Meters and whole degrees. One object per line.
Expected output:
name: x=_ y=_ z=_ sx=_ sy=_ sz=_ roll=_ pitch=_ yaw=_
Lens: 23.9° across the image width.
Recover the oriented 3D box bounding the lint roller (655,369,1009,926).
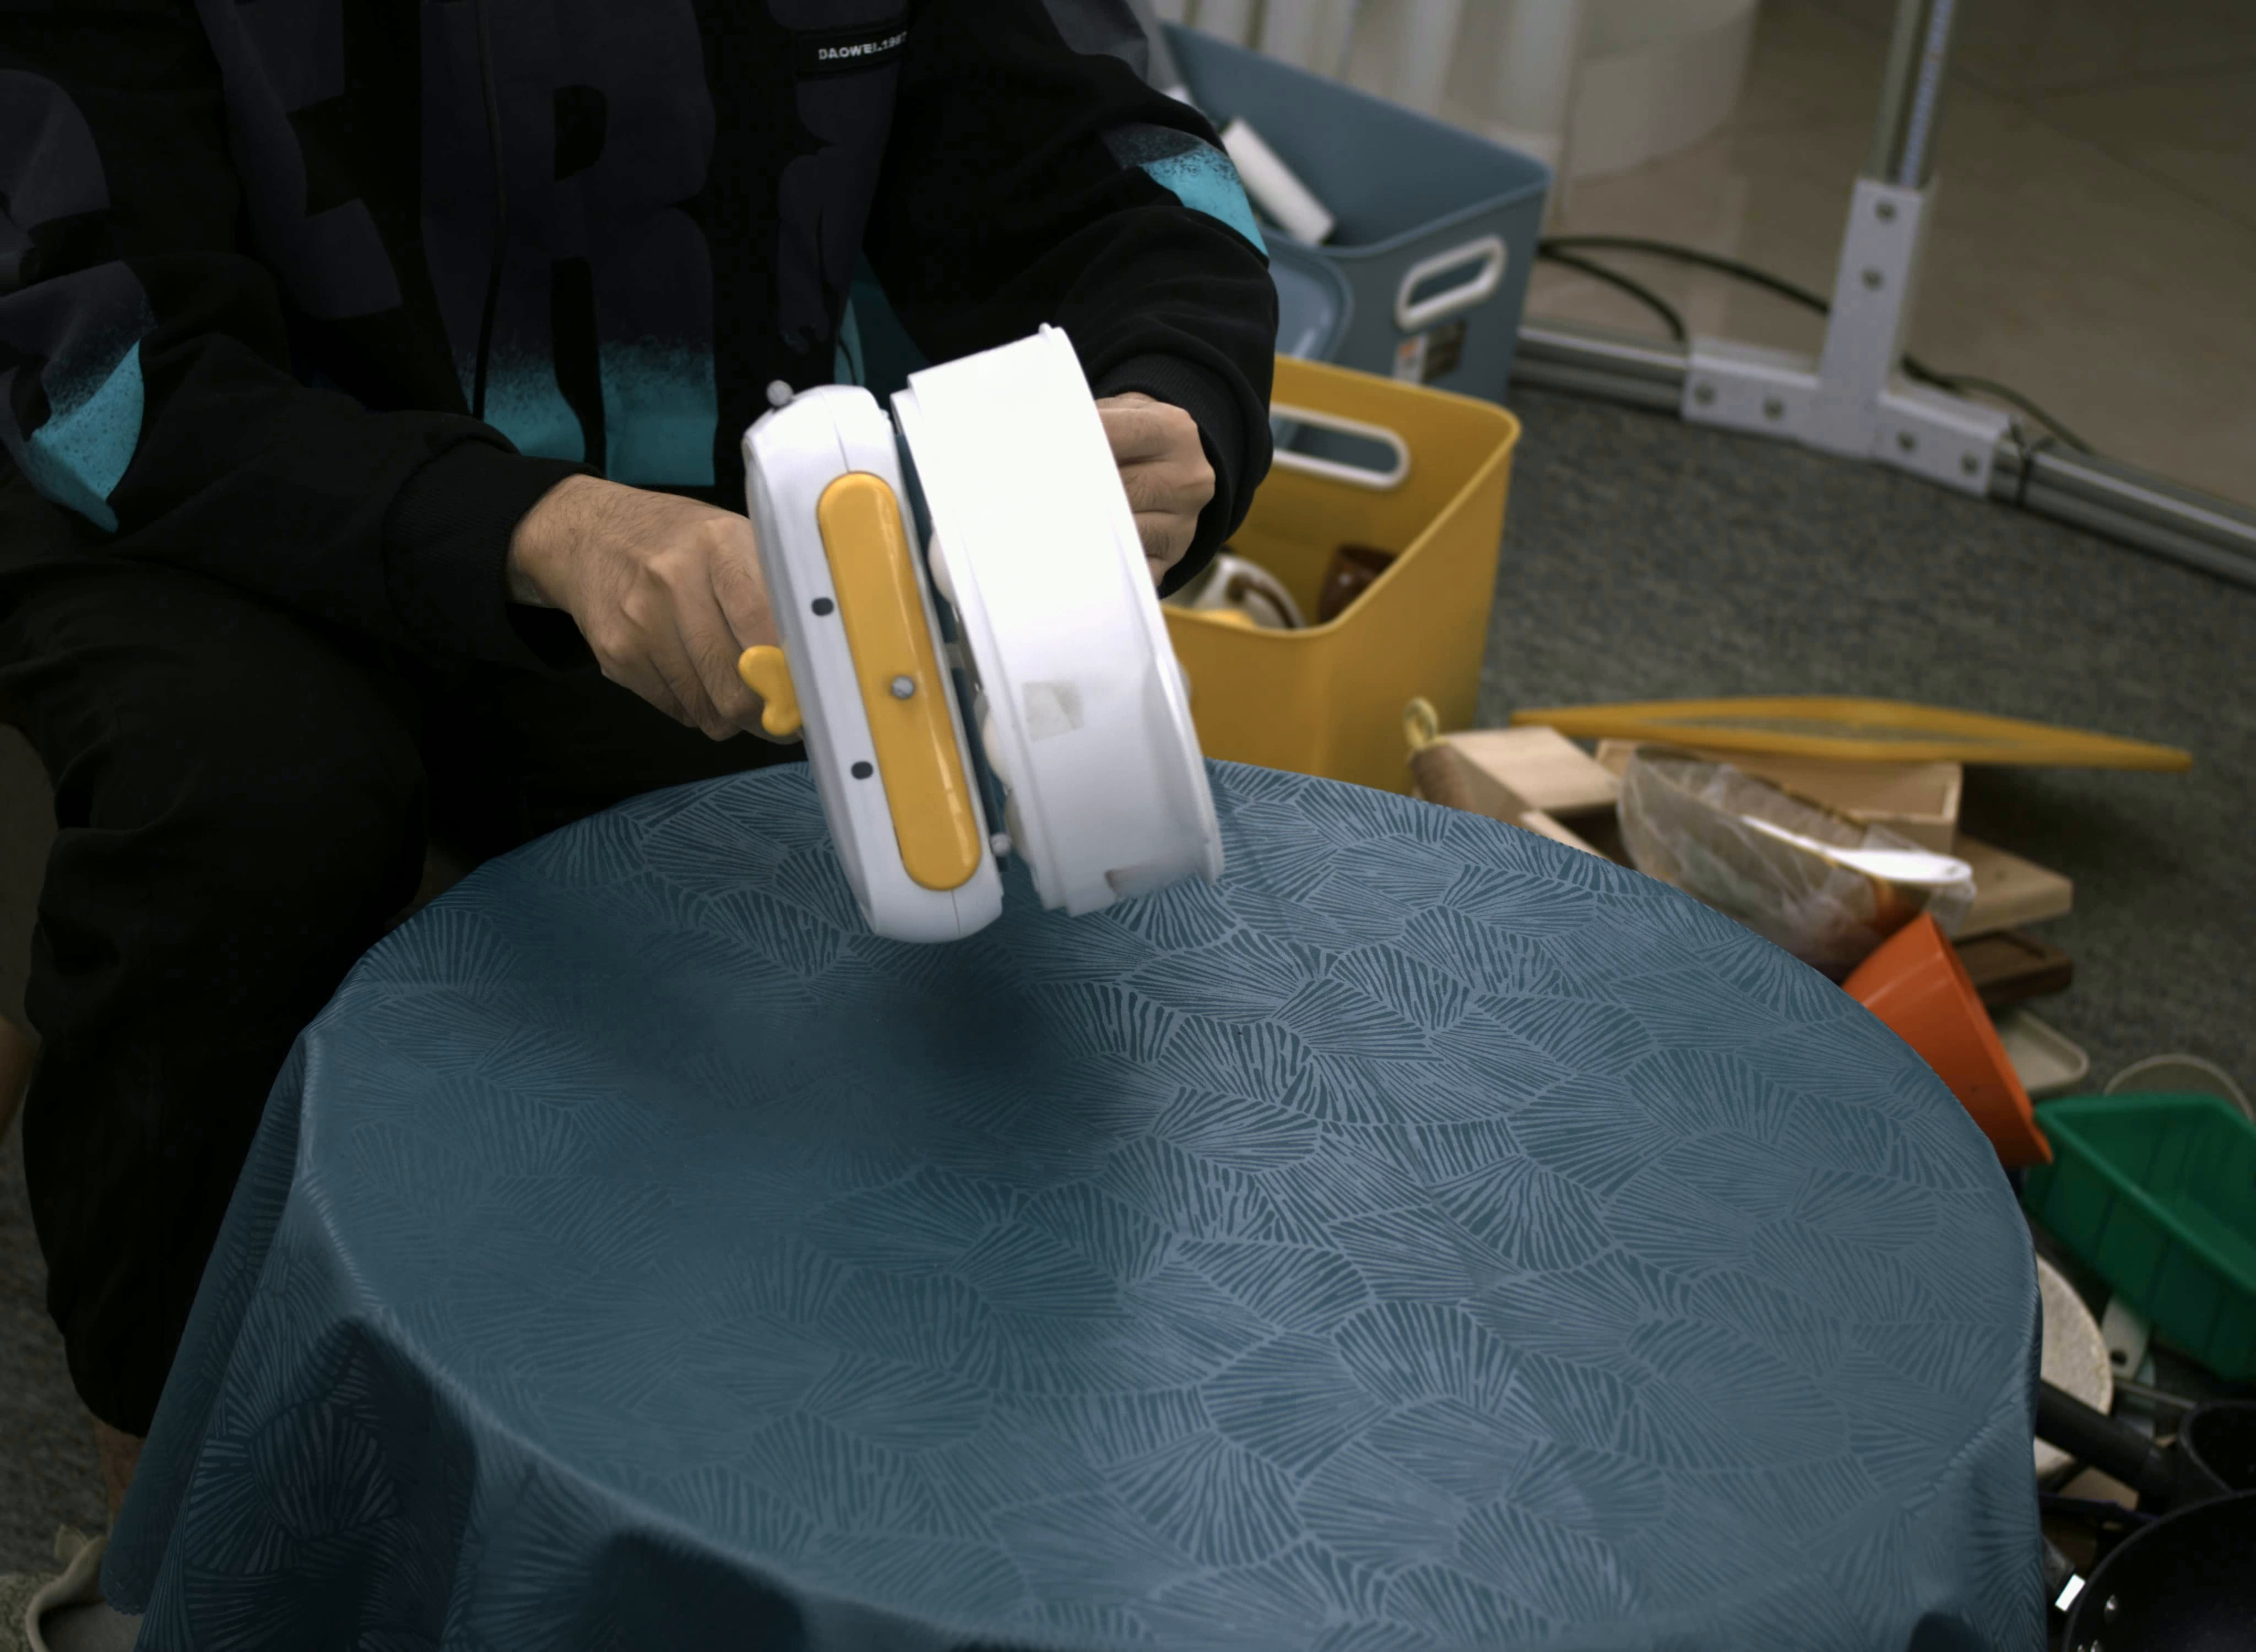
lint roller: x=-0.112 y=-0.063 z=1.857 sx=0.074 sy=0.192 sz=0.193 roll=-21 pitch=13 yaw=-17

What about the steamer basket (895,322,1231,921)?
steamer basket: x=-0.025 y=-0.066 z=1.812 sx=0.069 sy=0.200 sz=0.232 roll=-17 pitch=34 yaw=-3
